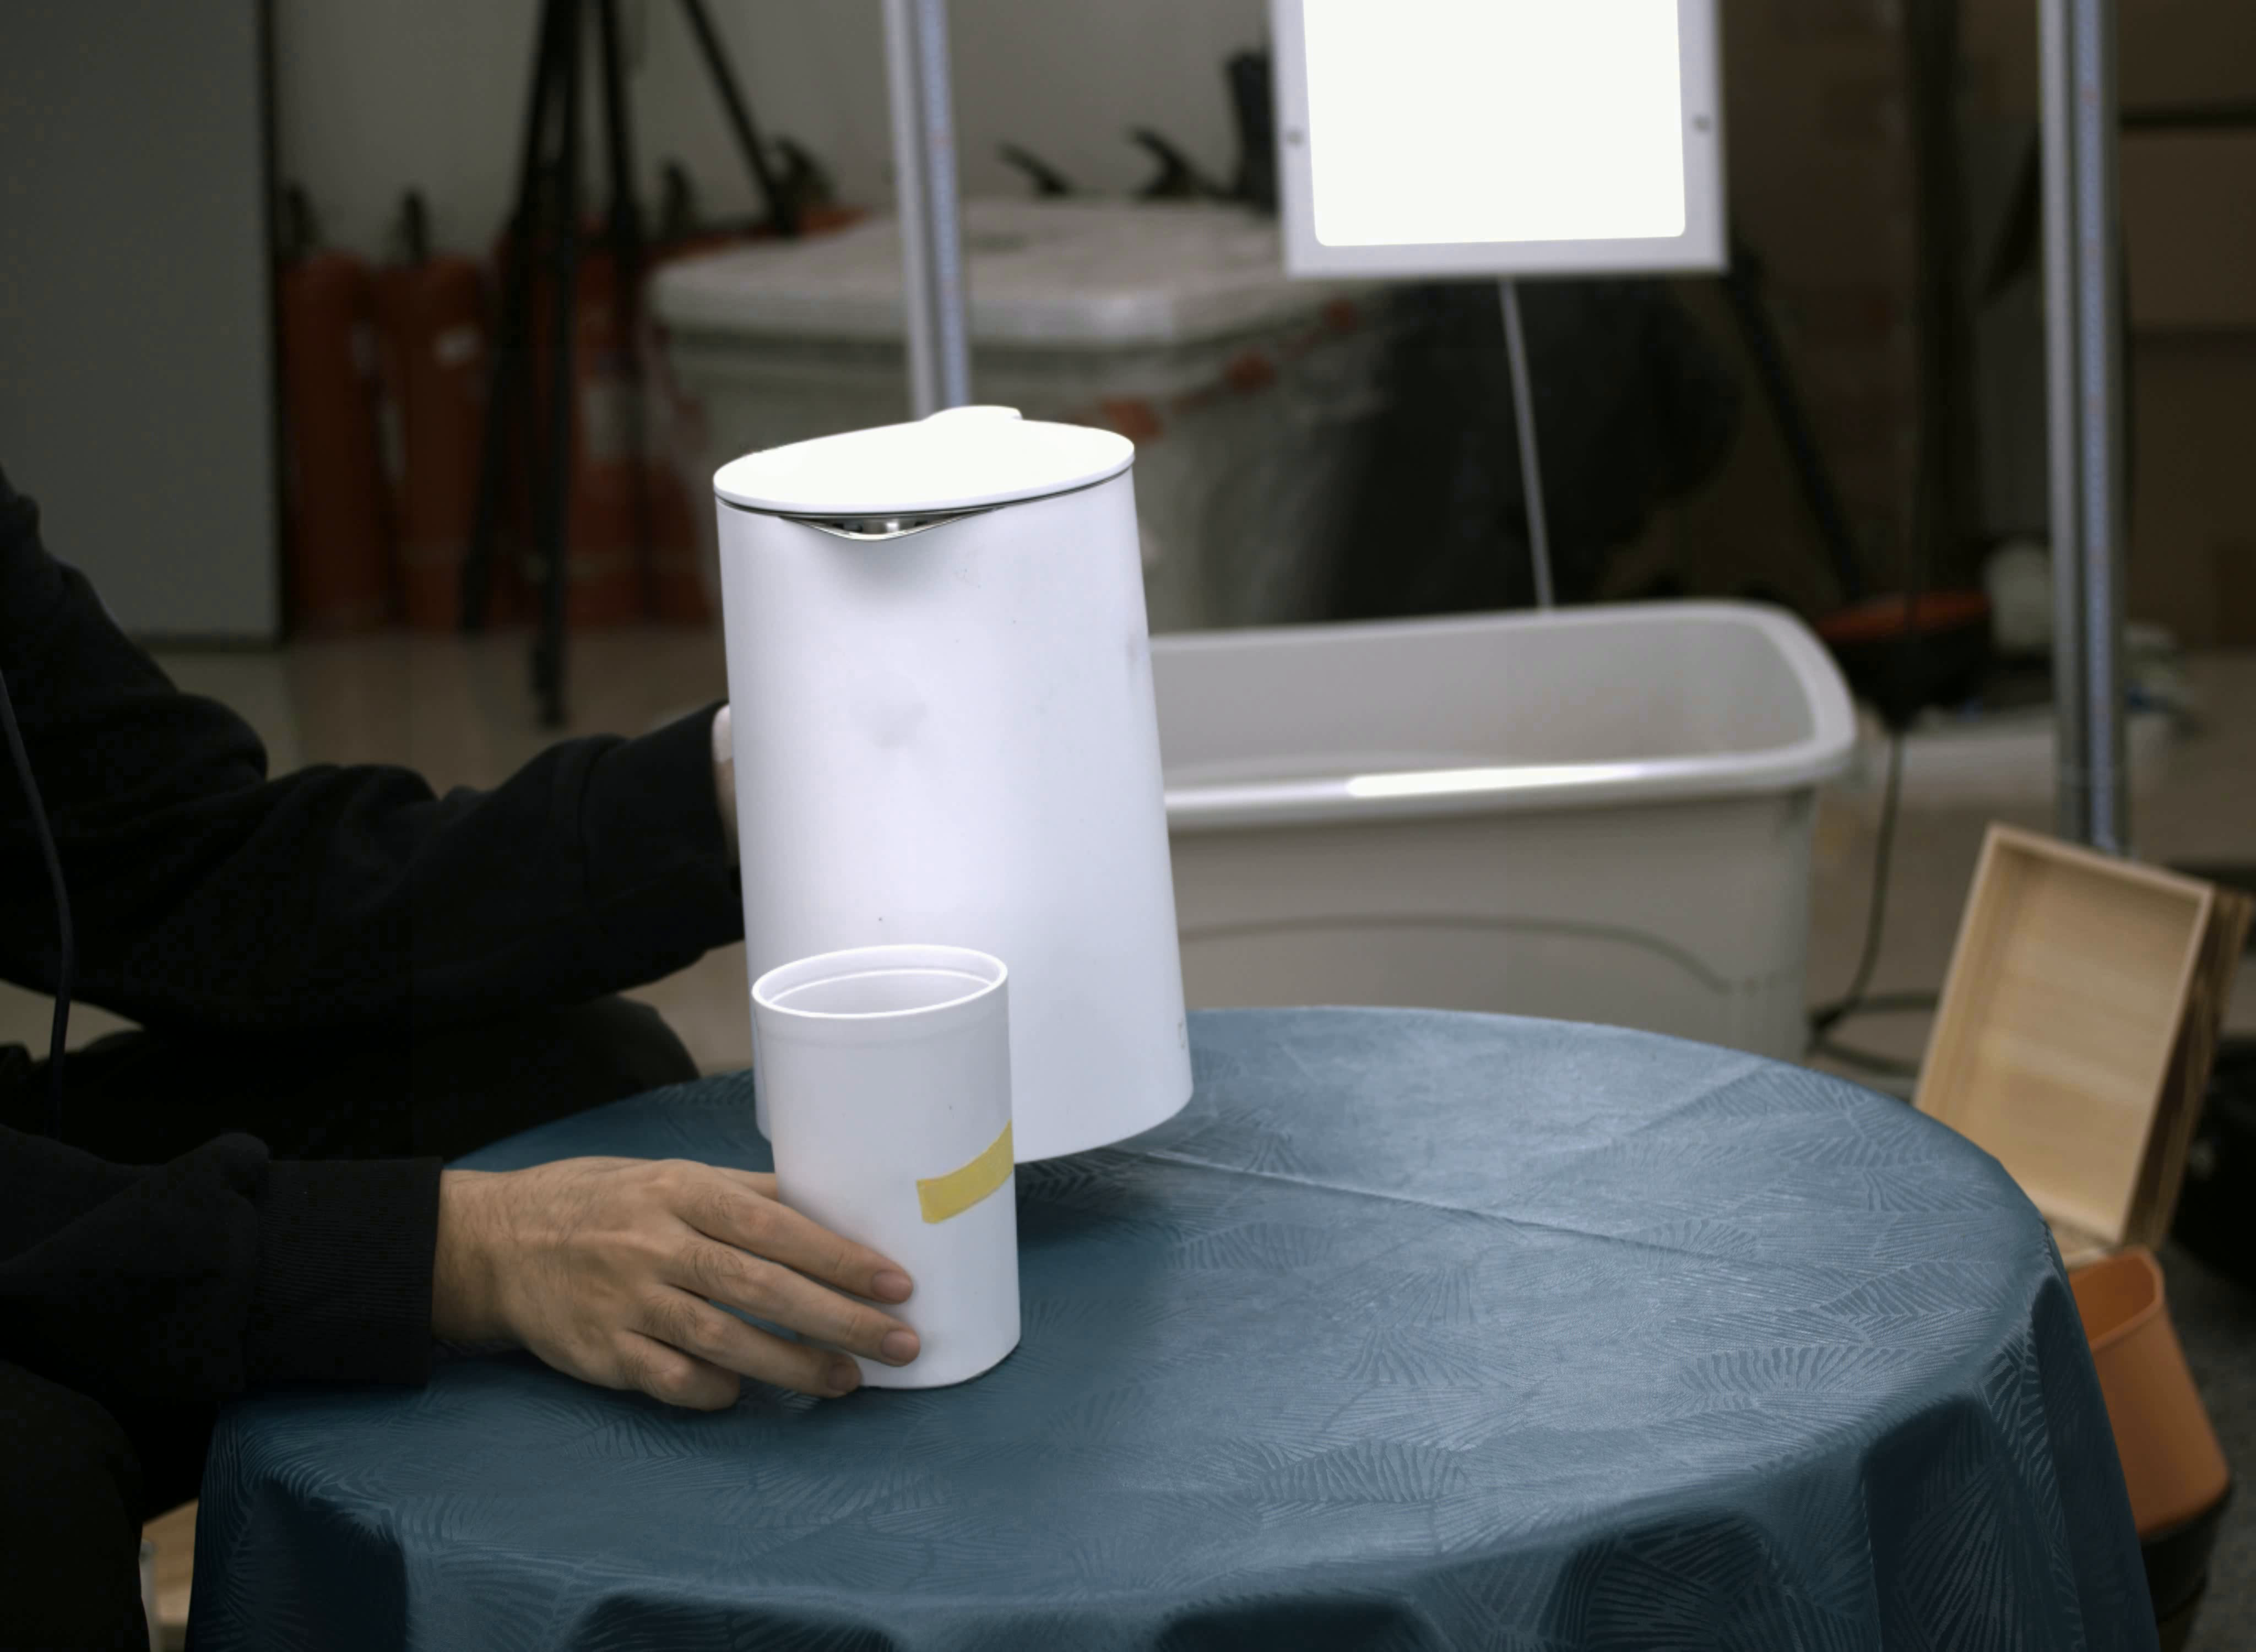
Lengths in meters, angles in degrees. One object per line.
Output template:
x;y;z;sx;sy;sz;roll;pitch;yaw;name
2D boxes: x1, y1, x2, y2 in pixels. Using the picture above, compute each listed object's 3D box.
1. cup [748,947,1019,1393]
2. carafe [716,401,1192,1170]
-0.073;0.109;1.735;0.081;0.126;0.081;-5;13;0;cup
-0.055;-0.020;1.904;0.153;0.241;0.211;-1;15;11;carafe
